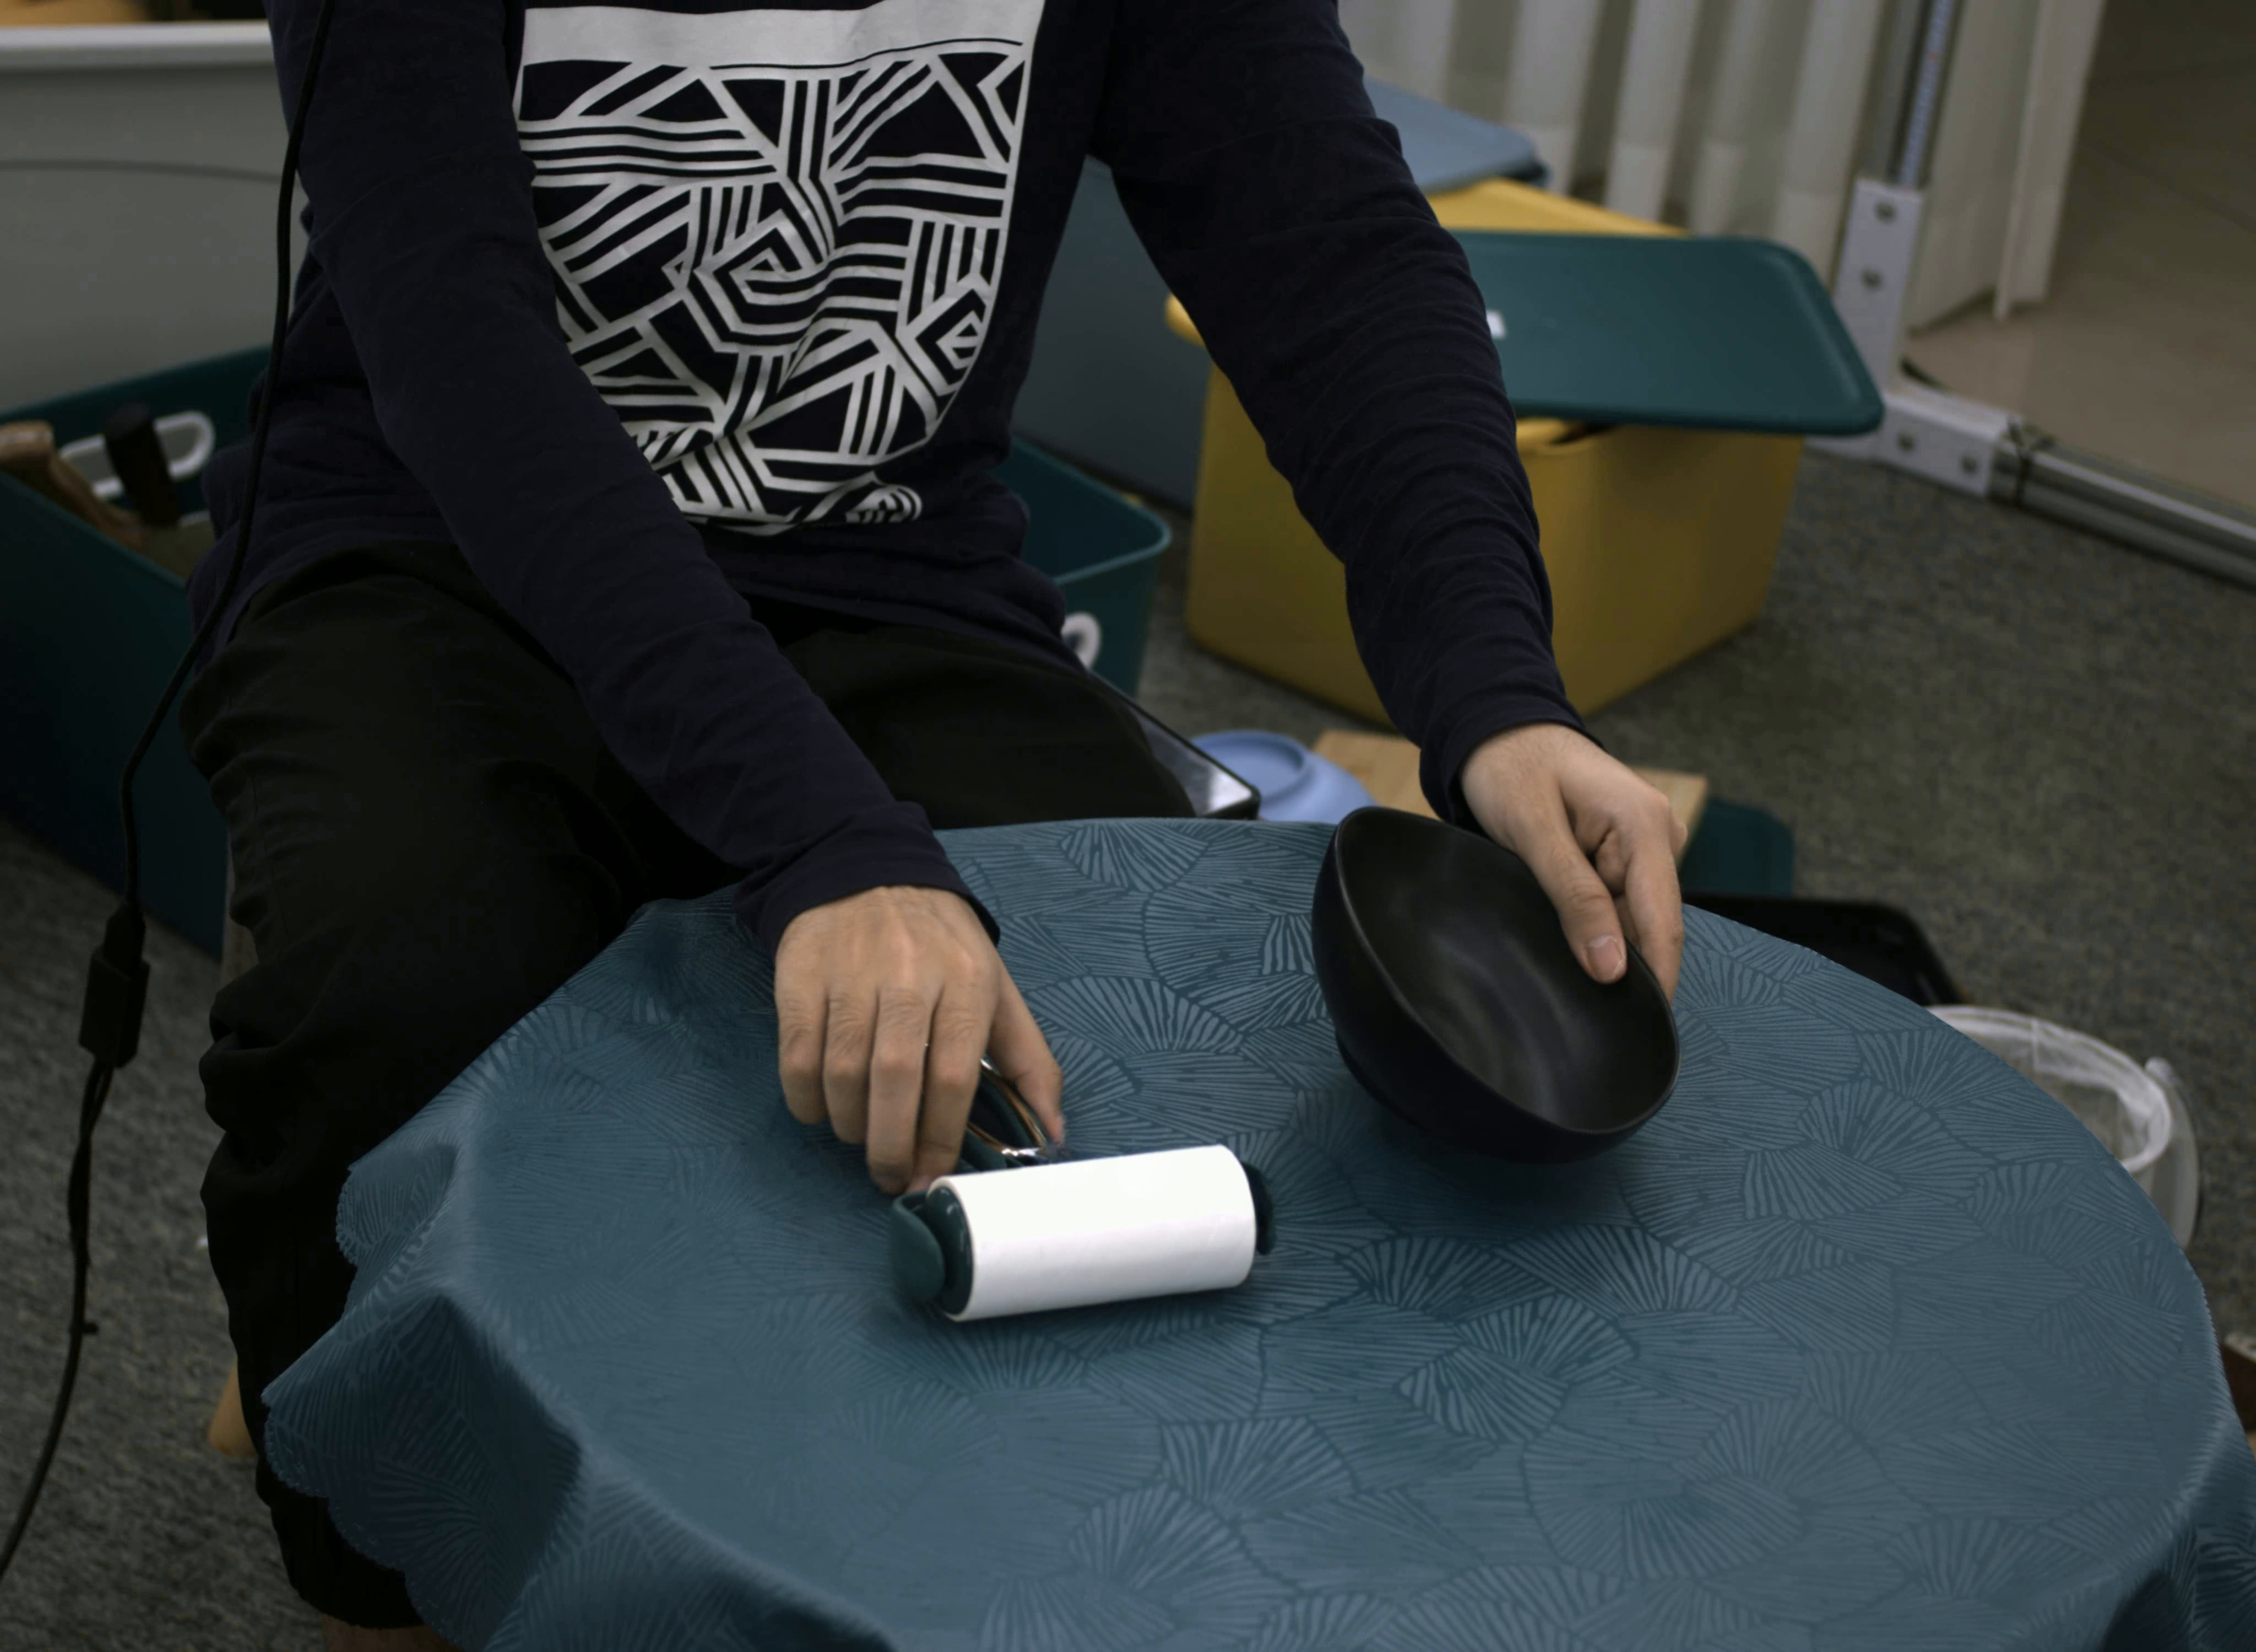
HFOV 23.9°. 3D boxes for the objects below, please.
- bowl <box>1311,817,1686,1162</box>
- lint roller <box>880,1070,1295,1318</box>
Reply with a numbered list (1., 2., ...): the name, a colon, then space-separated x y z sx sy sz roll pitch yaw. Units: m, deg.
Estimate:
1. bowl: 0.116 0.065 1.851 0.136 0.066 0.172 16 32 -26
2. lint roller: -0.040 0.105 1.790 0.133 0.048 0.181 -5 26 -22
